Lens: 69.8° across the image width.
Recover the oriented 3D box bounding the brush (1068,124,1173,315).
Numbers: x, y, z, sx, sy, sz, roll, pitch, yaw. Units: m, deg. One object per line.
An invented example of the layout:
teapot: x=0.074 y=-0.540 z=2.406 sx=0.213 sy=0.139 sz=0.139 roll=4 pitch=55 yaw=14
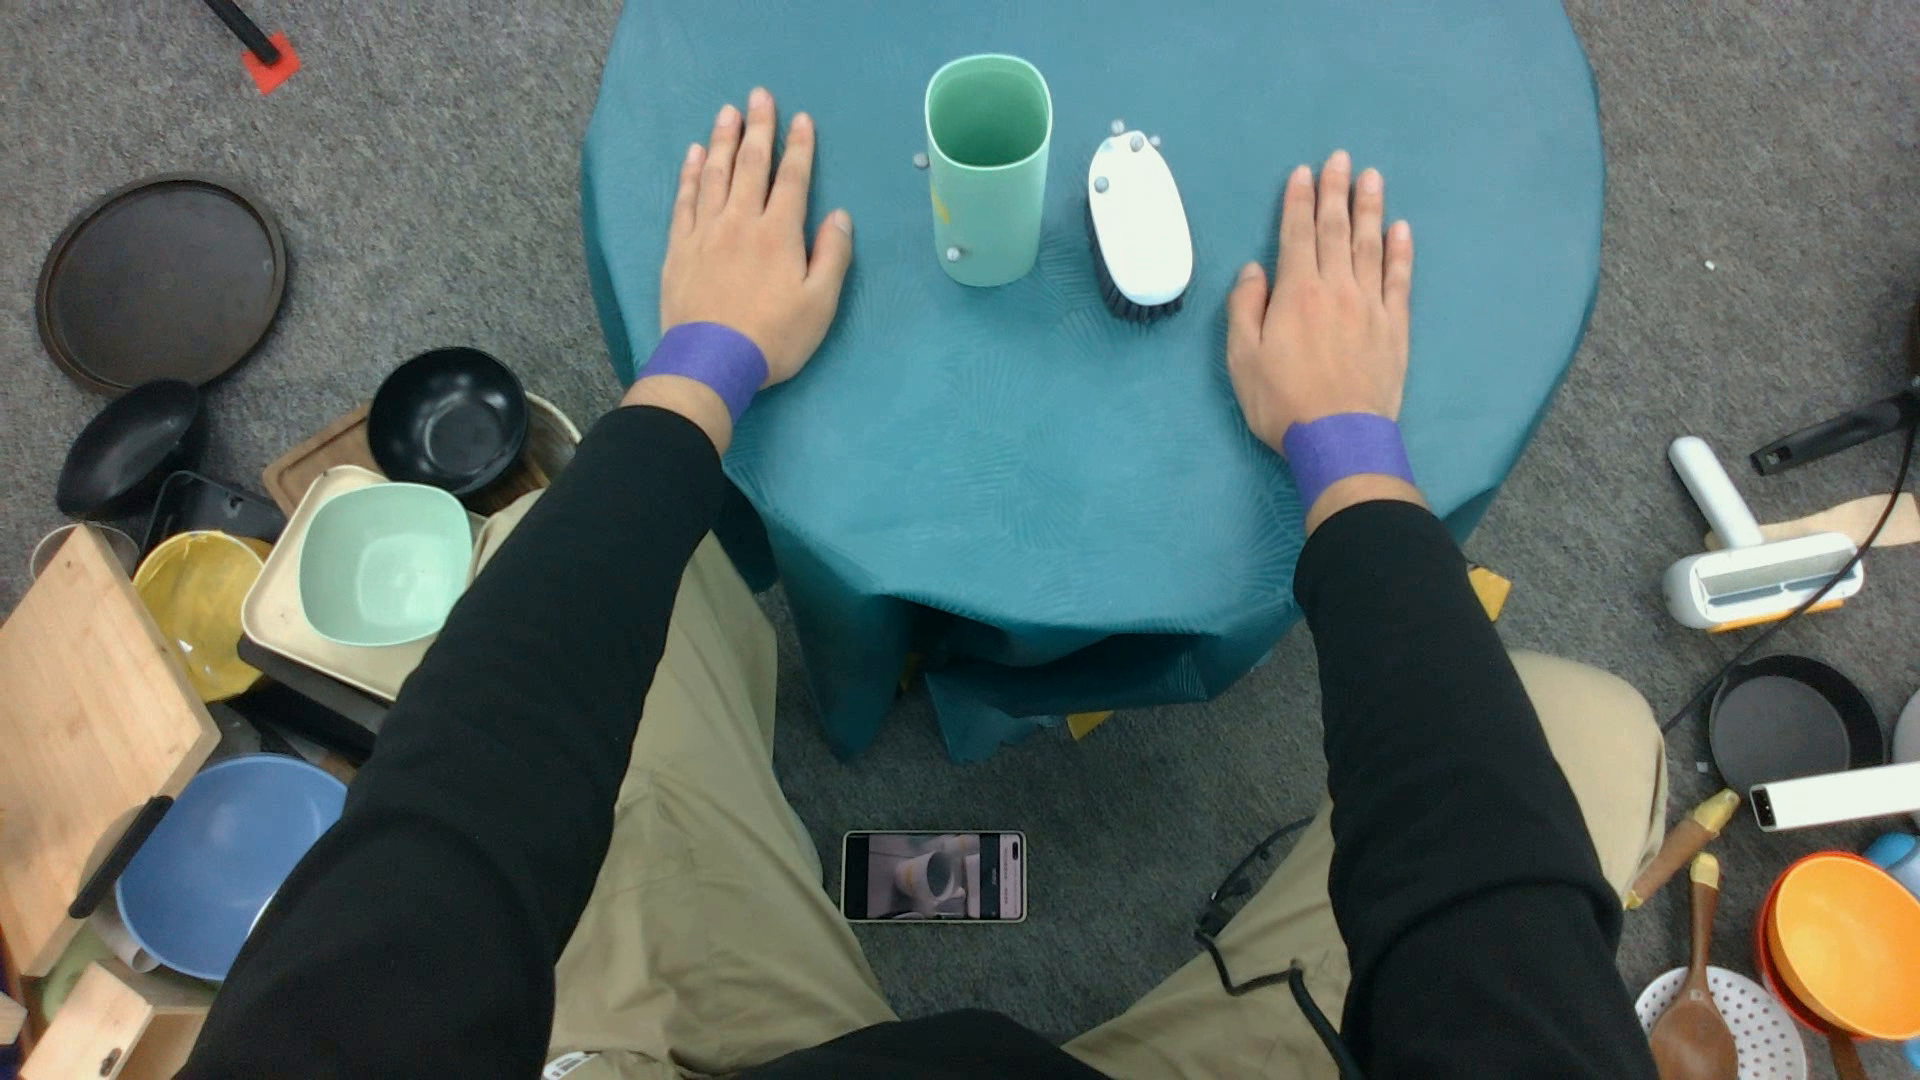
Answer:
brush: x=0.091 y=-0.184 z=0.767 sx=0.050 sy=0.072 sz=0.099 roll=-11 pitch=74 yaw=-1

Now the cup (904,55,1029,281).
cup: x=0.004 y=-0.197 z=0.744 sx=0.067 sy=0.132 sz=0.067 roll=0 pitch=74 yaw=-1
